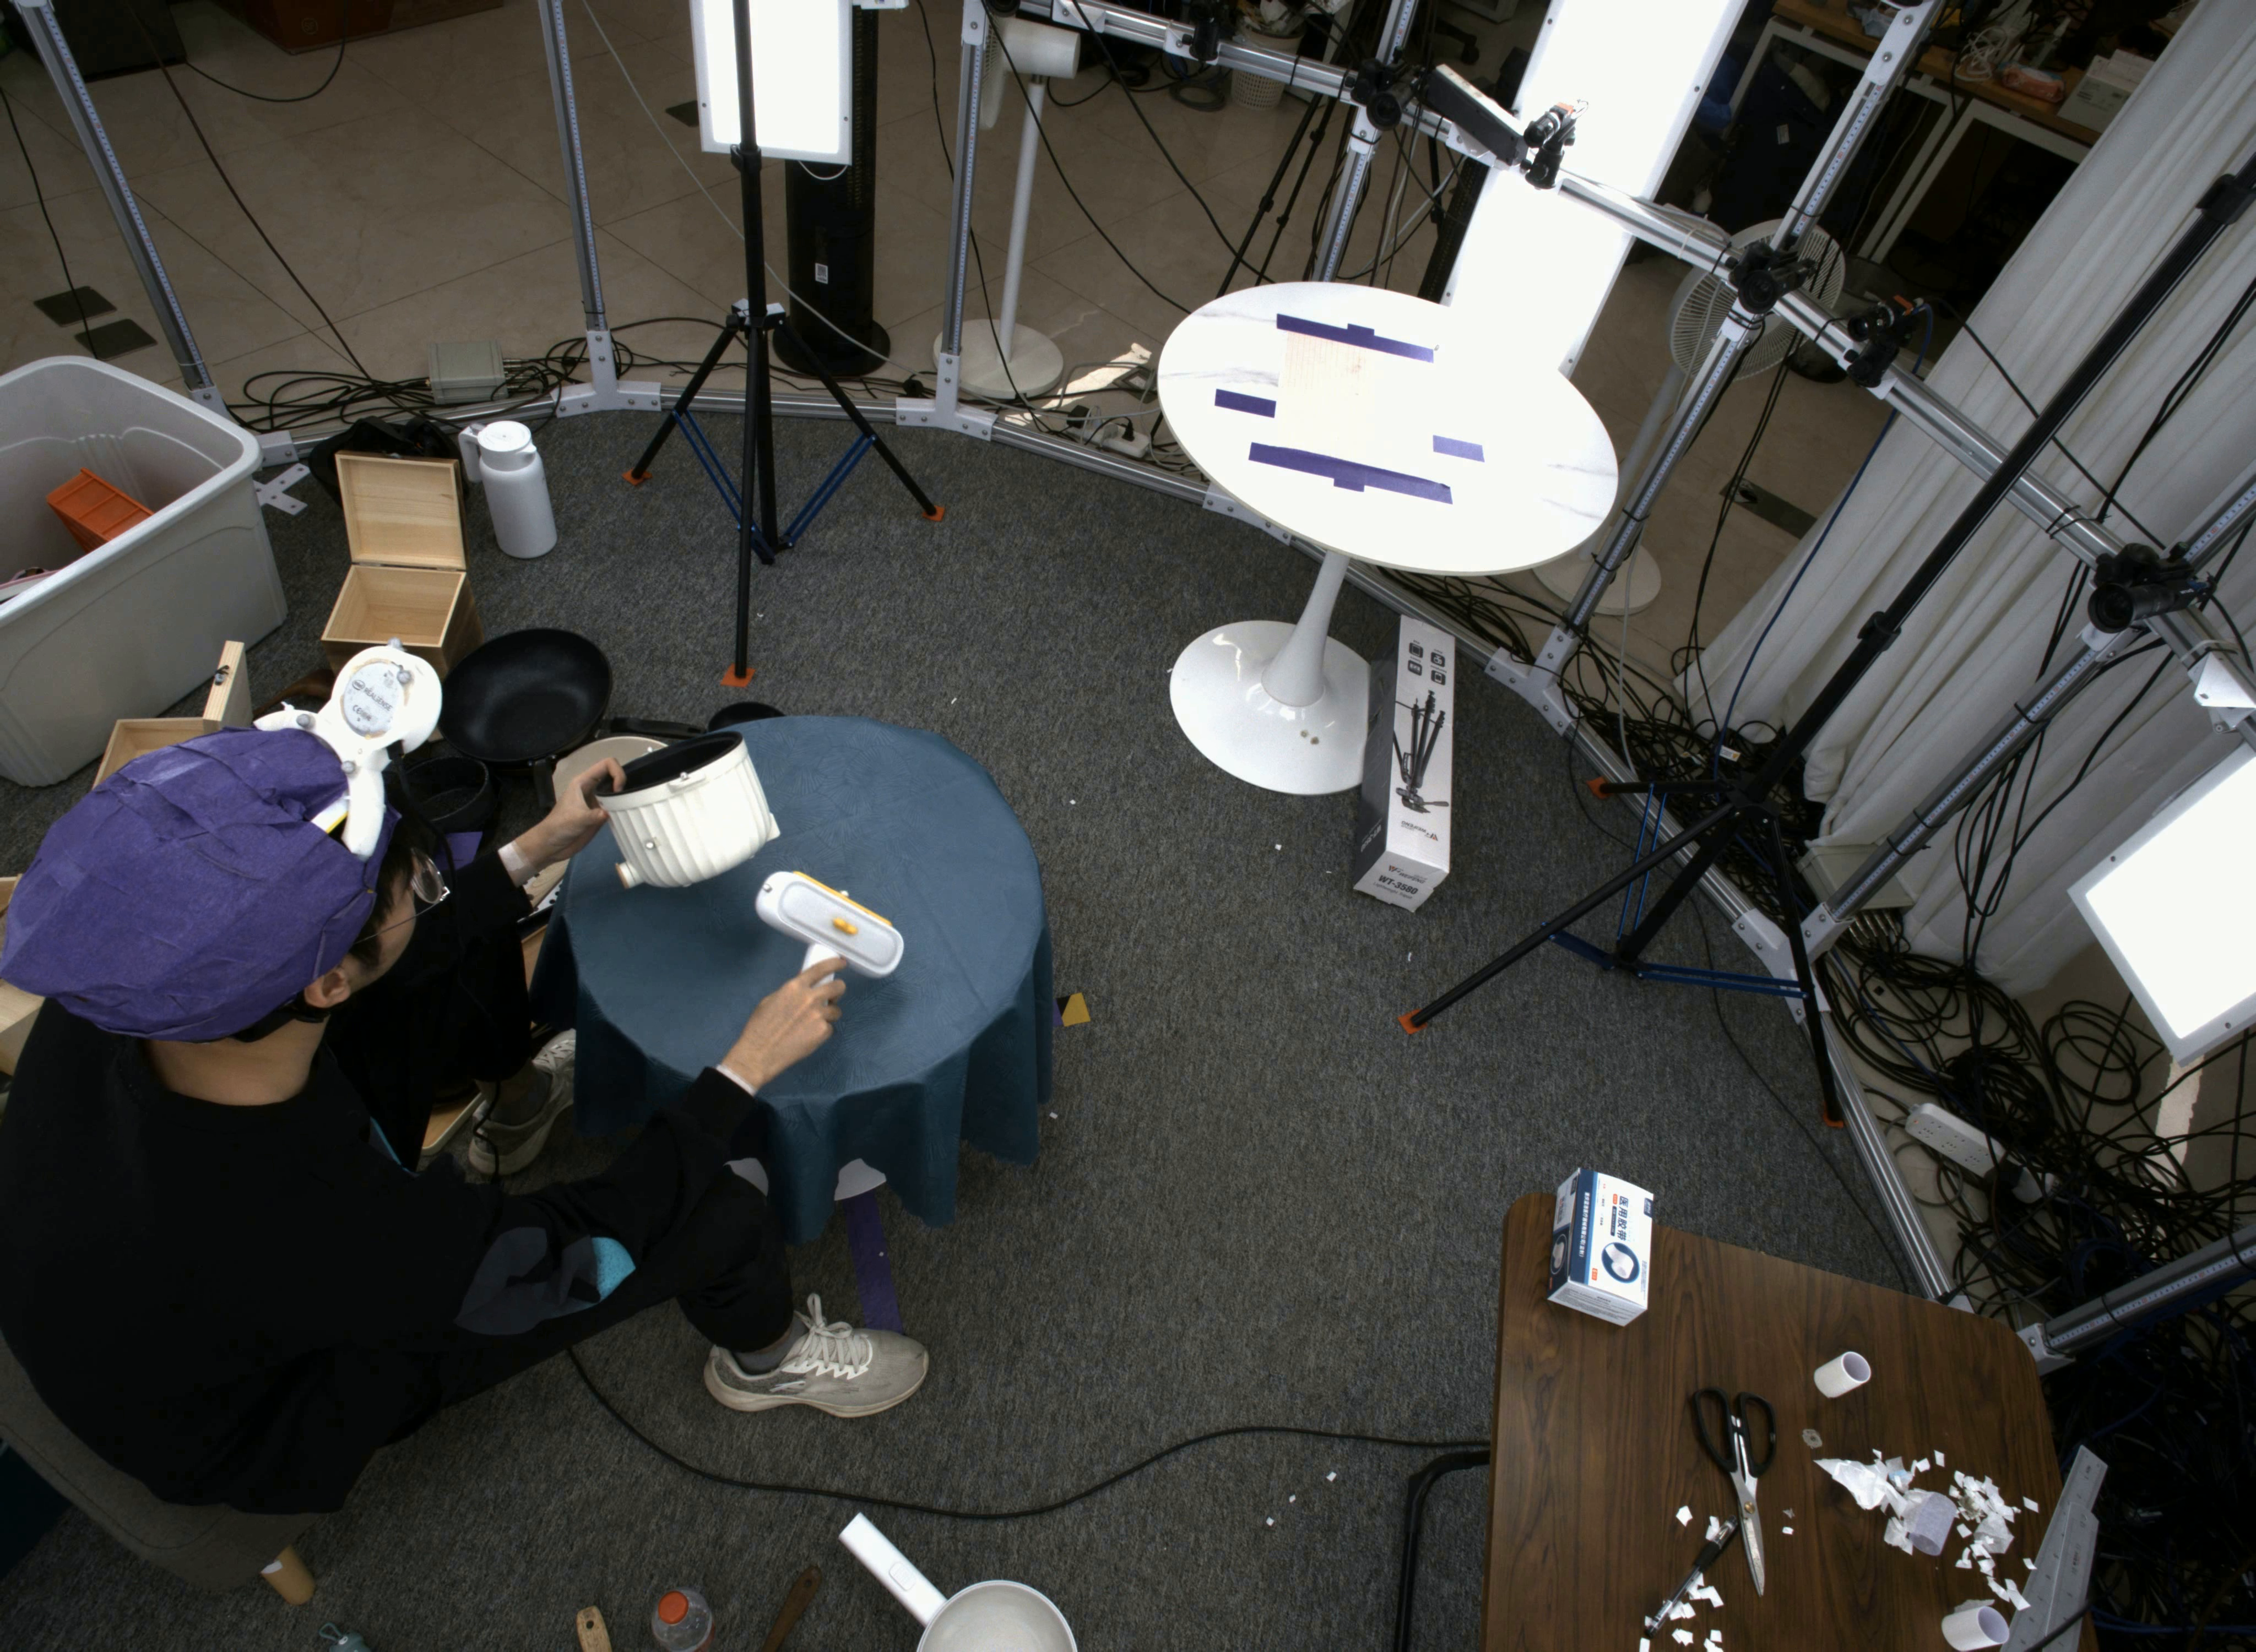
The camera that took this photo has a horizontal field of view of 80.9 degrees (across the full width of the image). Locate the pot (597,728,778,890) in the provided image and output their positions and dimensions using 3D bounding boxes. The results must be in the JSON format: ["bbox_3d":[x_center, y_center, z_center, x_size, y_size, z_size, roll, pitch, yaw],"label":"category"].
[{"bbox_3d":[-0.524,-0.016,1.520,0.191,0.147,0.232,-24,21,-25],"label":"pot"}]

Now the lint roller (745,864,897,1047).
[{"bbox_3d":[-0.364,0.160,1.501,0.199,0.072,0.191,33,60,-40],"label":"lint roller"}]
